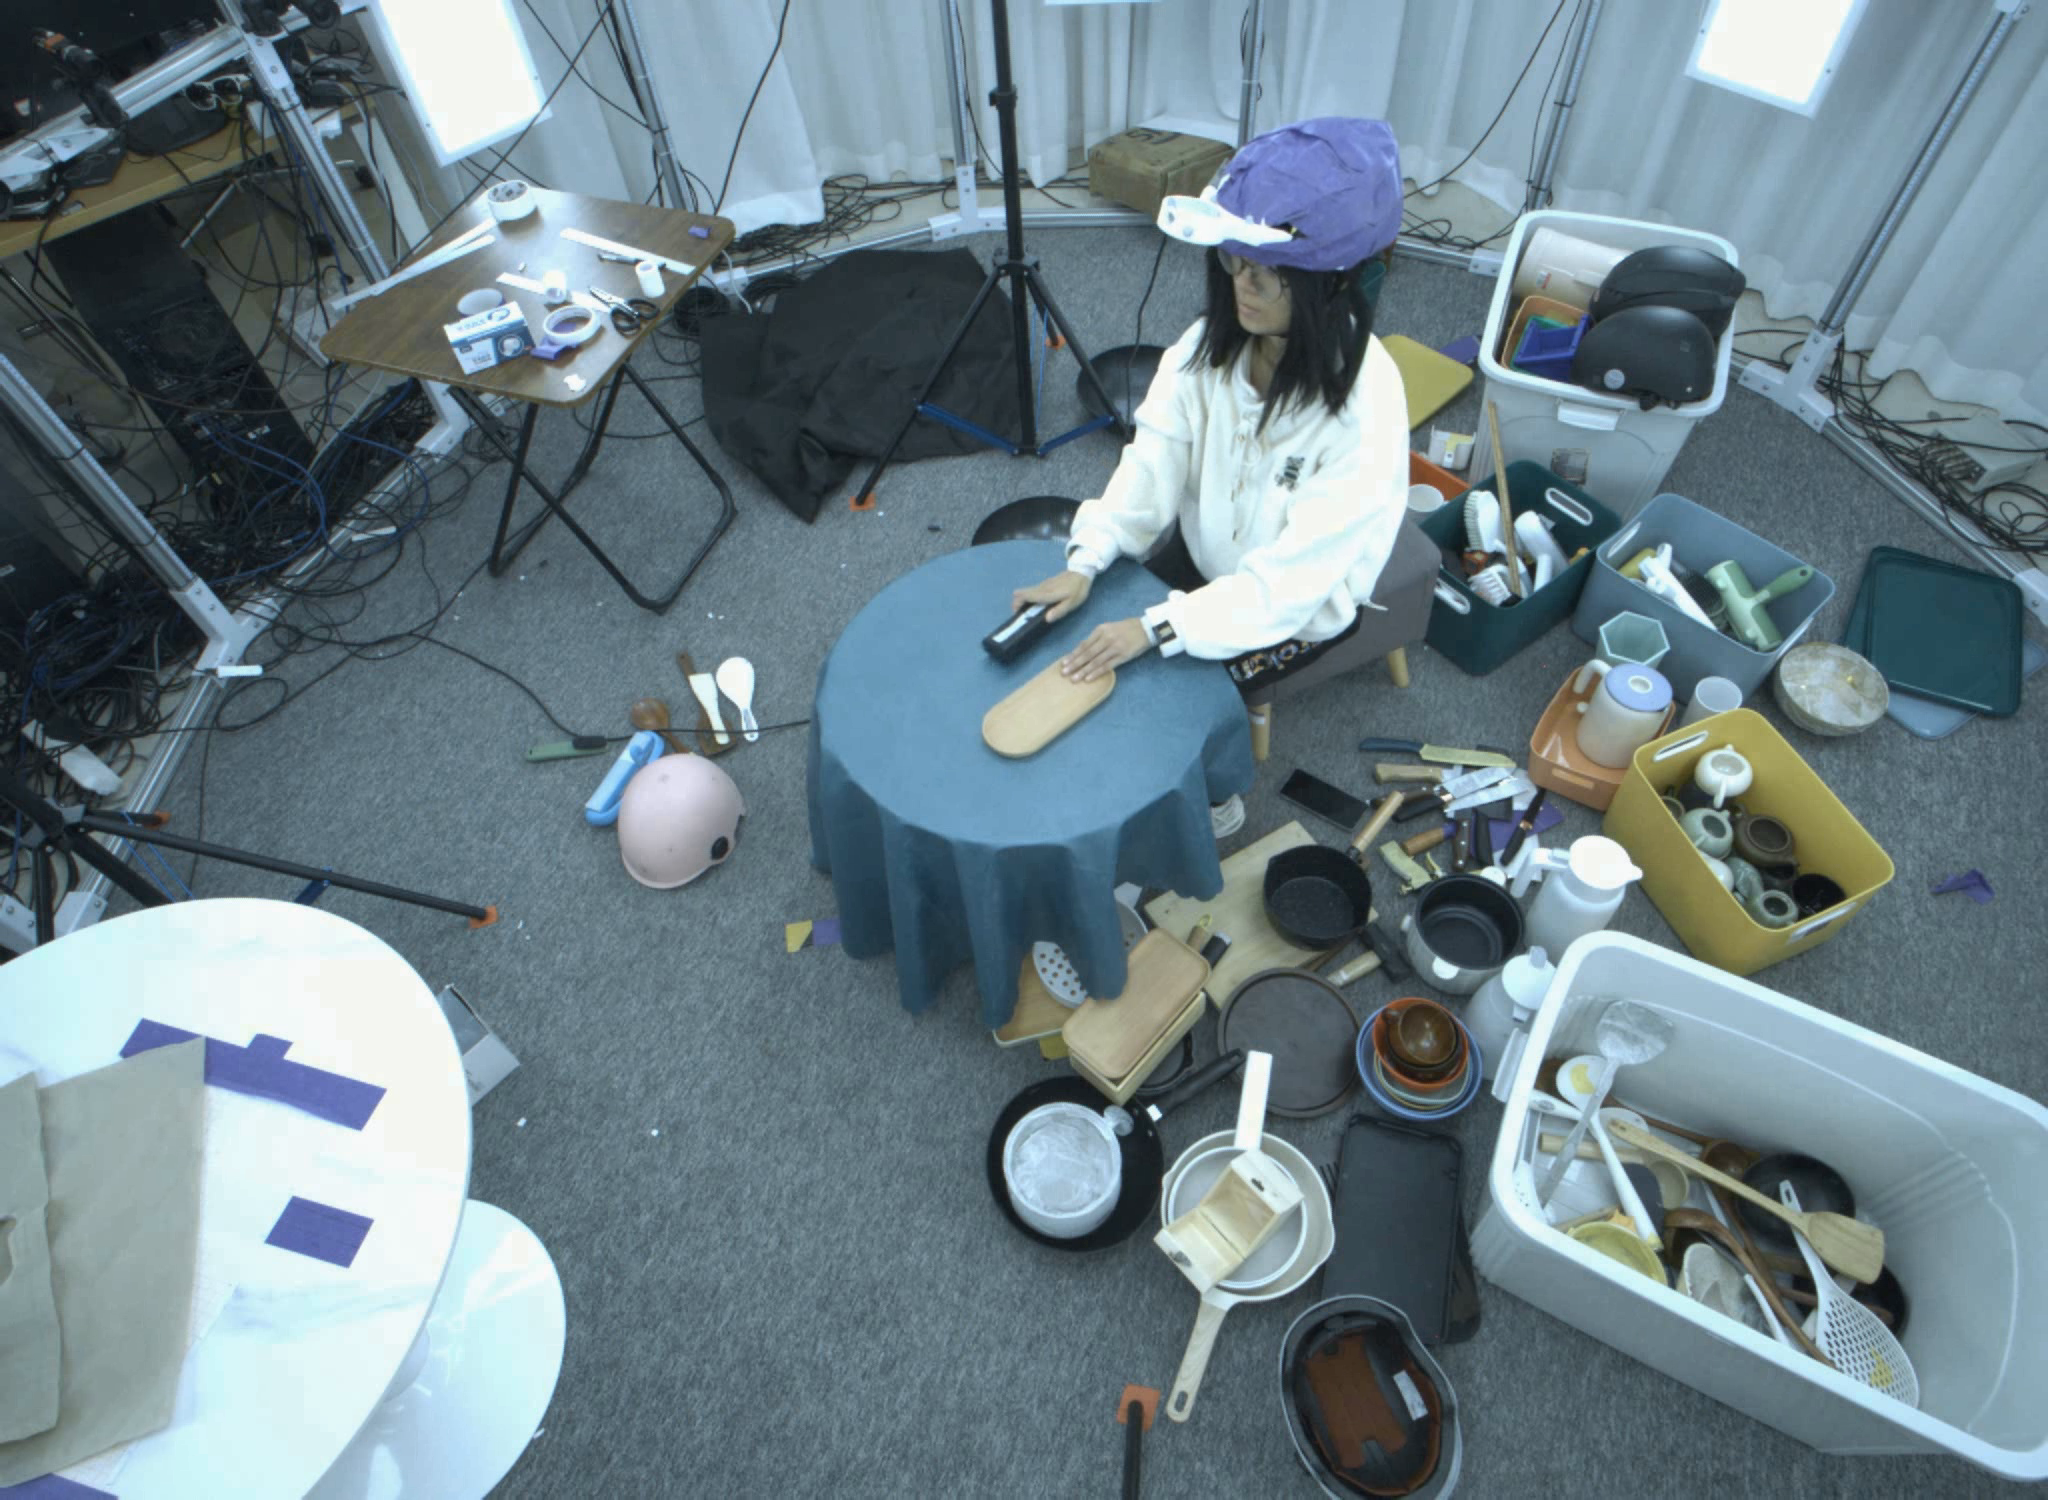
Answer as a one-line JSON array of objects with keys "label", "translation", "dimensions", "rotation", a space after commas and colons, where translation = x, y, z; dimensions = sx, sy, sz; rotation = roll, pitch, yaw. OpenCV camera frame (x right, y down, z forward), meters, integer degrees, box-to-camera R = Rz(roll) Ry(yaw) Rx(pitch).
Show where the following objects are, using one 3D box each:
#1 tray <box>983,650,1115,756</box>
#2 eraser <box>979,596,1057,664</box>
[{"label": "tray", "translation": [0.038, -0.070, 1.827], "dimensions": [0.233, 0.020, 0.100], "rotation": [-38, 63, -24]}, {"label": "eraser", "translation": [-0.009, -0.186, 1.891], "dimensions": [0.052, 0.031, 0.126], "rotation": [31, 59, 30]}]
